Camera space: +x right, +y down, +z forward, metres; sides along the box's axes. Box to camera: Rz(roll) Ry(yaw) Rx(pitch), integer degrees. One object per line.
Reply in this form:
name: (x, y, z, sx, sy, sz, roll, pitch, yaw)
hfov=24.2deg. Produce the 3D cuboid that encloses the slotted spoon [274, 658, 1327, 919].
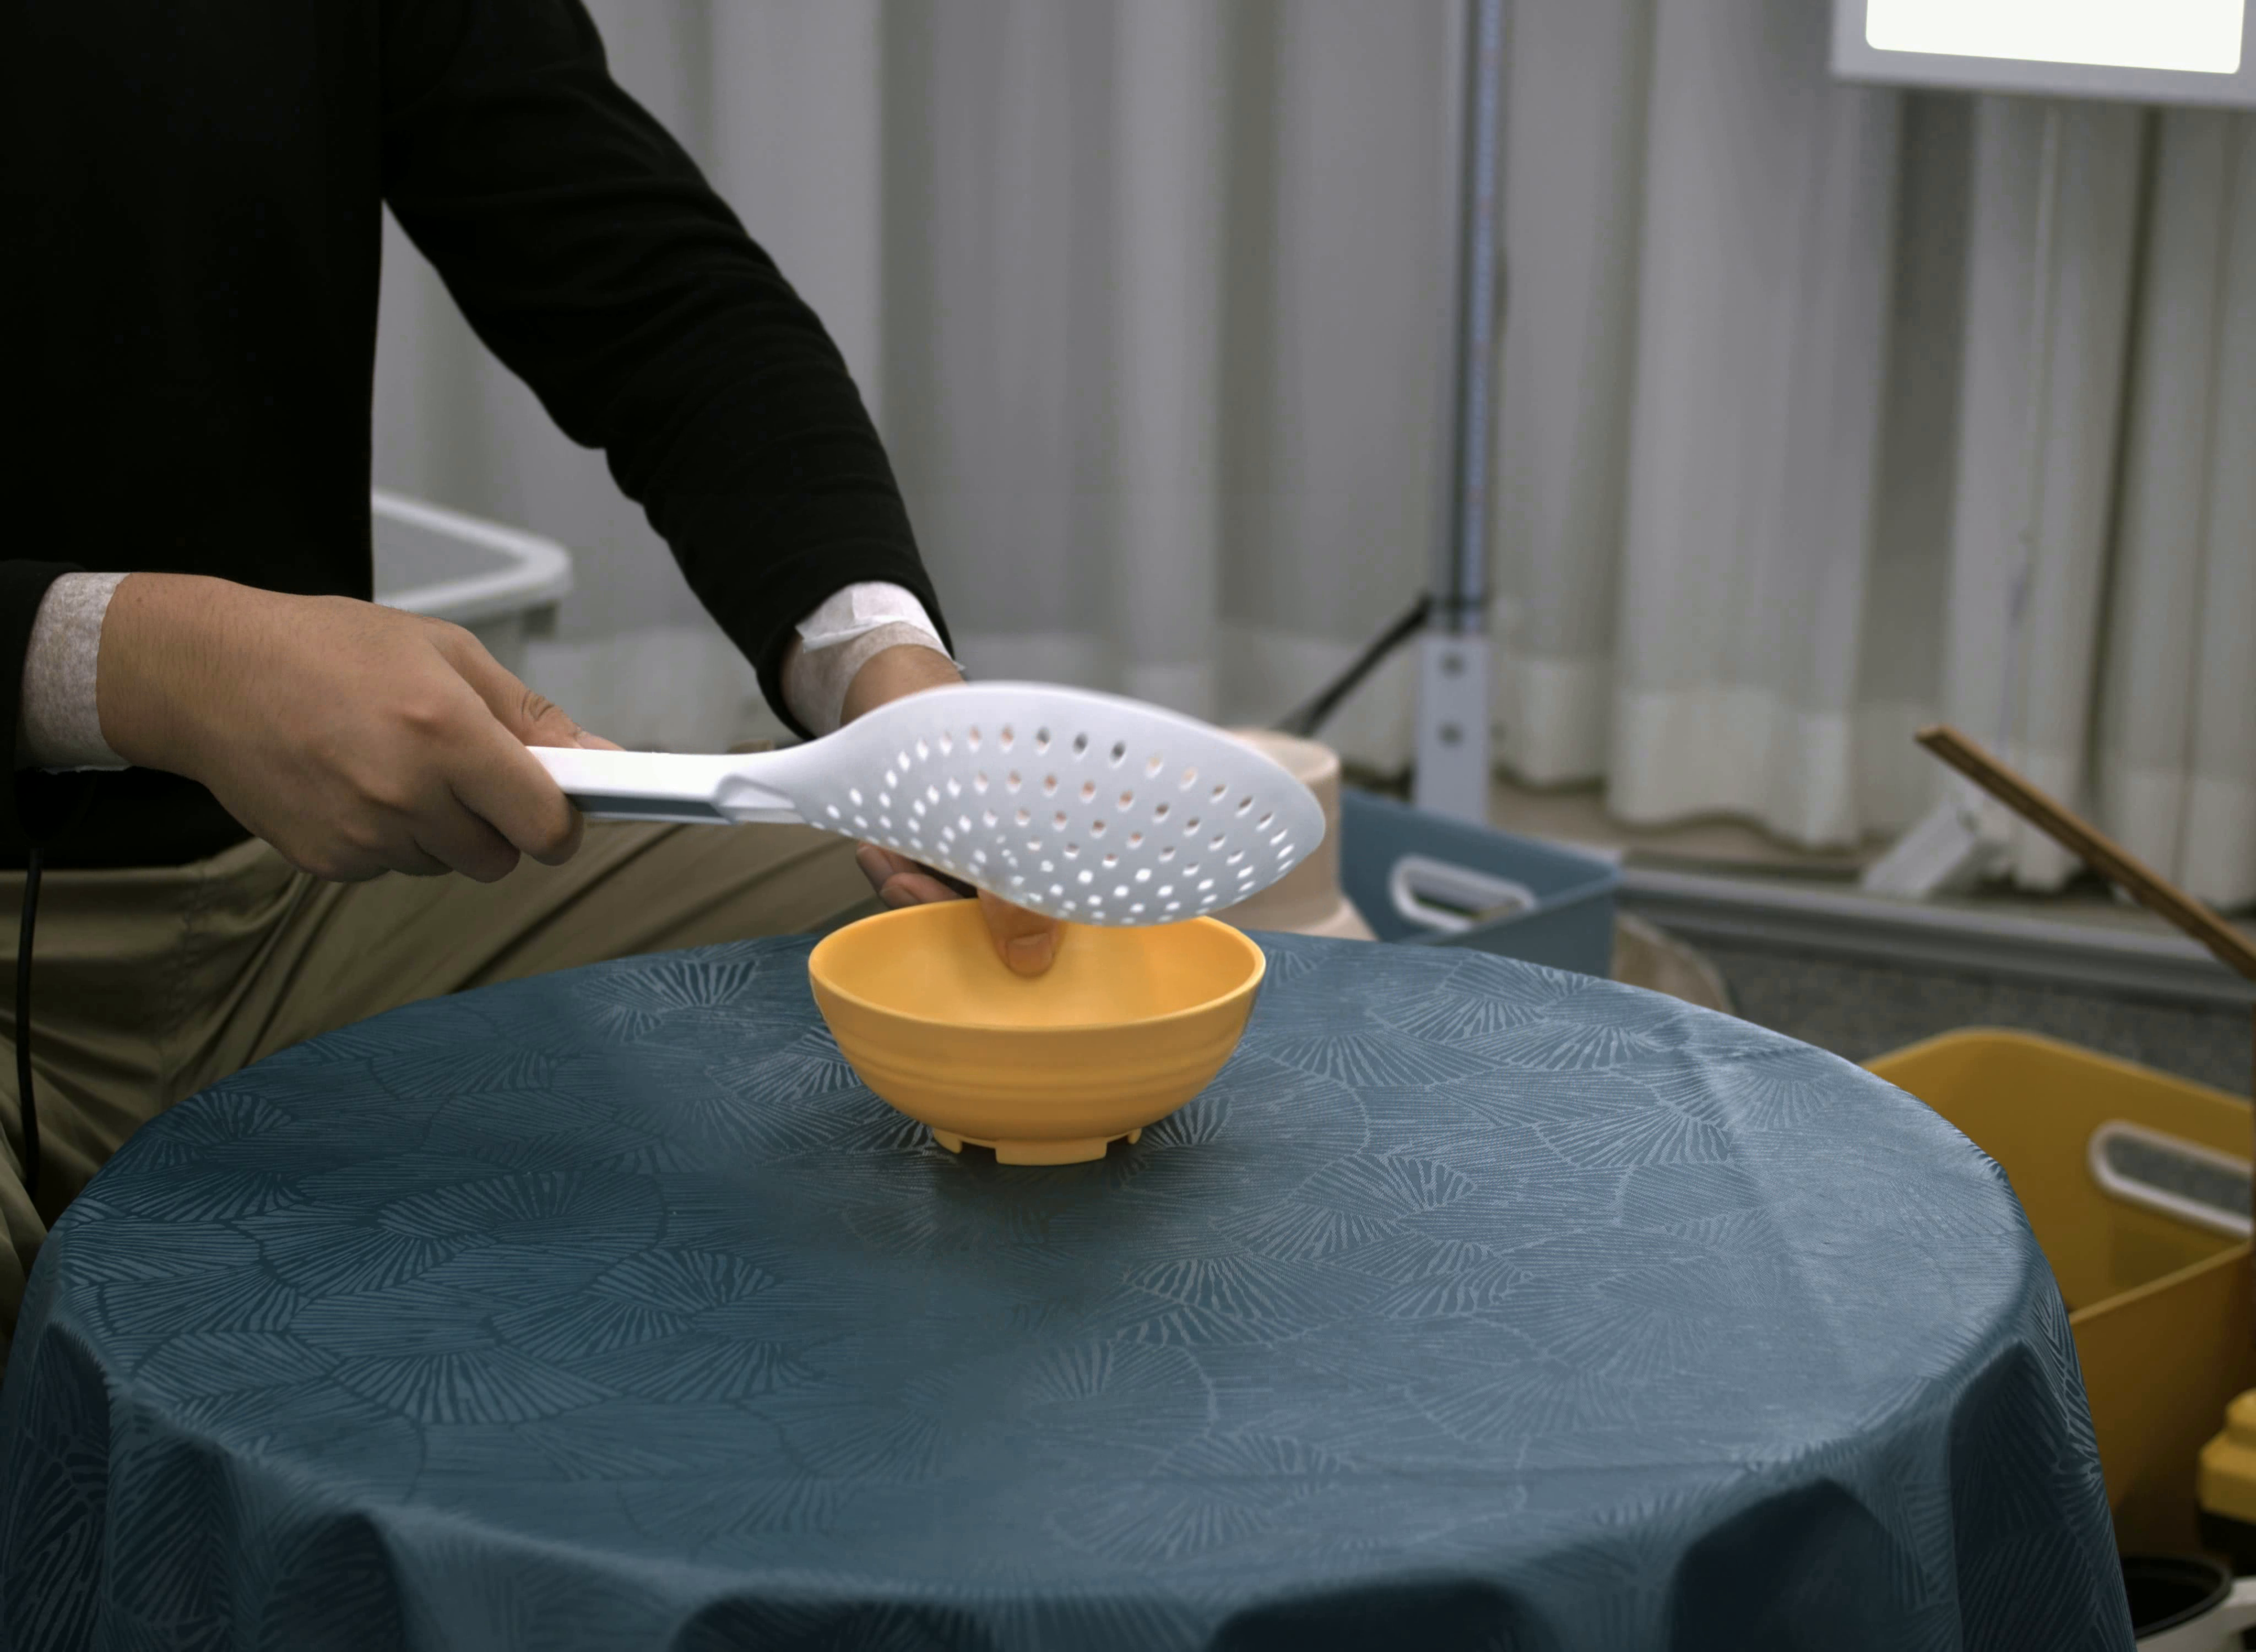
slotted spoon: (-0.107, -0.013, 1.583, 0.346, 0.045, 0.138, 7, -23, 26)

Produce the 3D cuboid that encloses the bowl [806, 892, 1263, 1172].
bowl: (-0.031, 0.070, 1.666, 0.145, 0.060, 0.144, 3, 16, 0)
